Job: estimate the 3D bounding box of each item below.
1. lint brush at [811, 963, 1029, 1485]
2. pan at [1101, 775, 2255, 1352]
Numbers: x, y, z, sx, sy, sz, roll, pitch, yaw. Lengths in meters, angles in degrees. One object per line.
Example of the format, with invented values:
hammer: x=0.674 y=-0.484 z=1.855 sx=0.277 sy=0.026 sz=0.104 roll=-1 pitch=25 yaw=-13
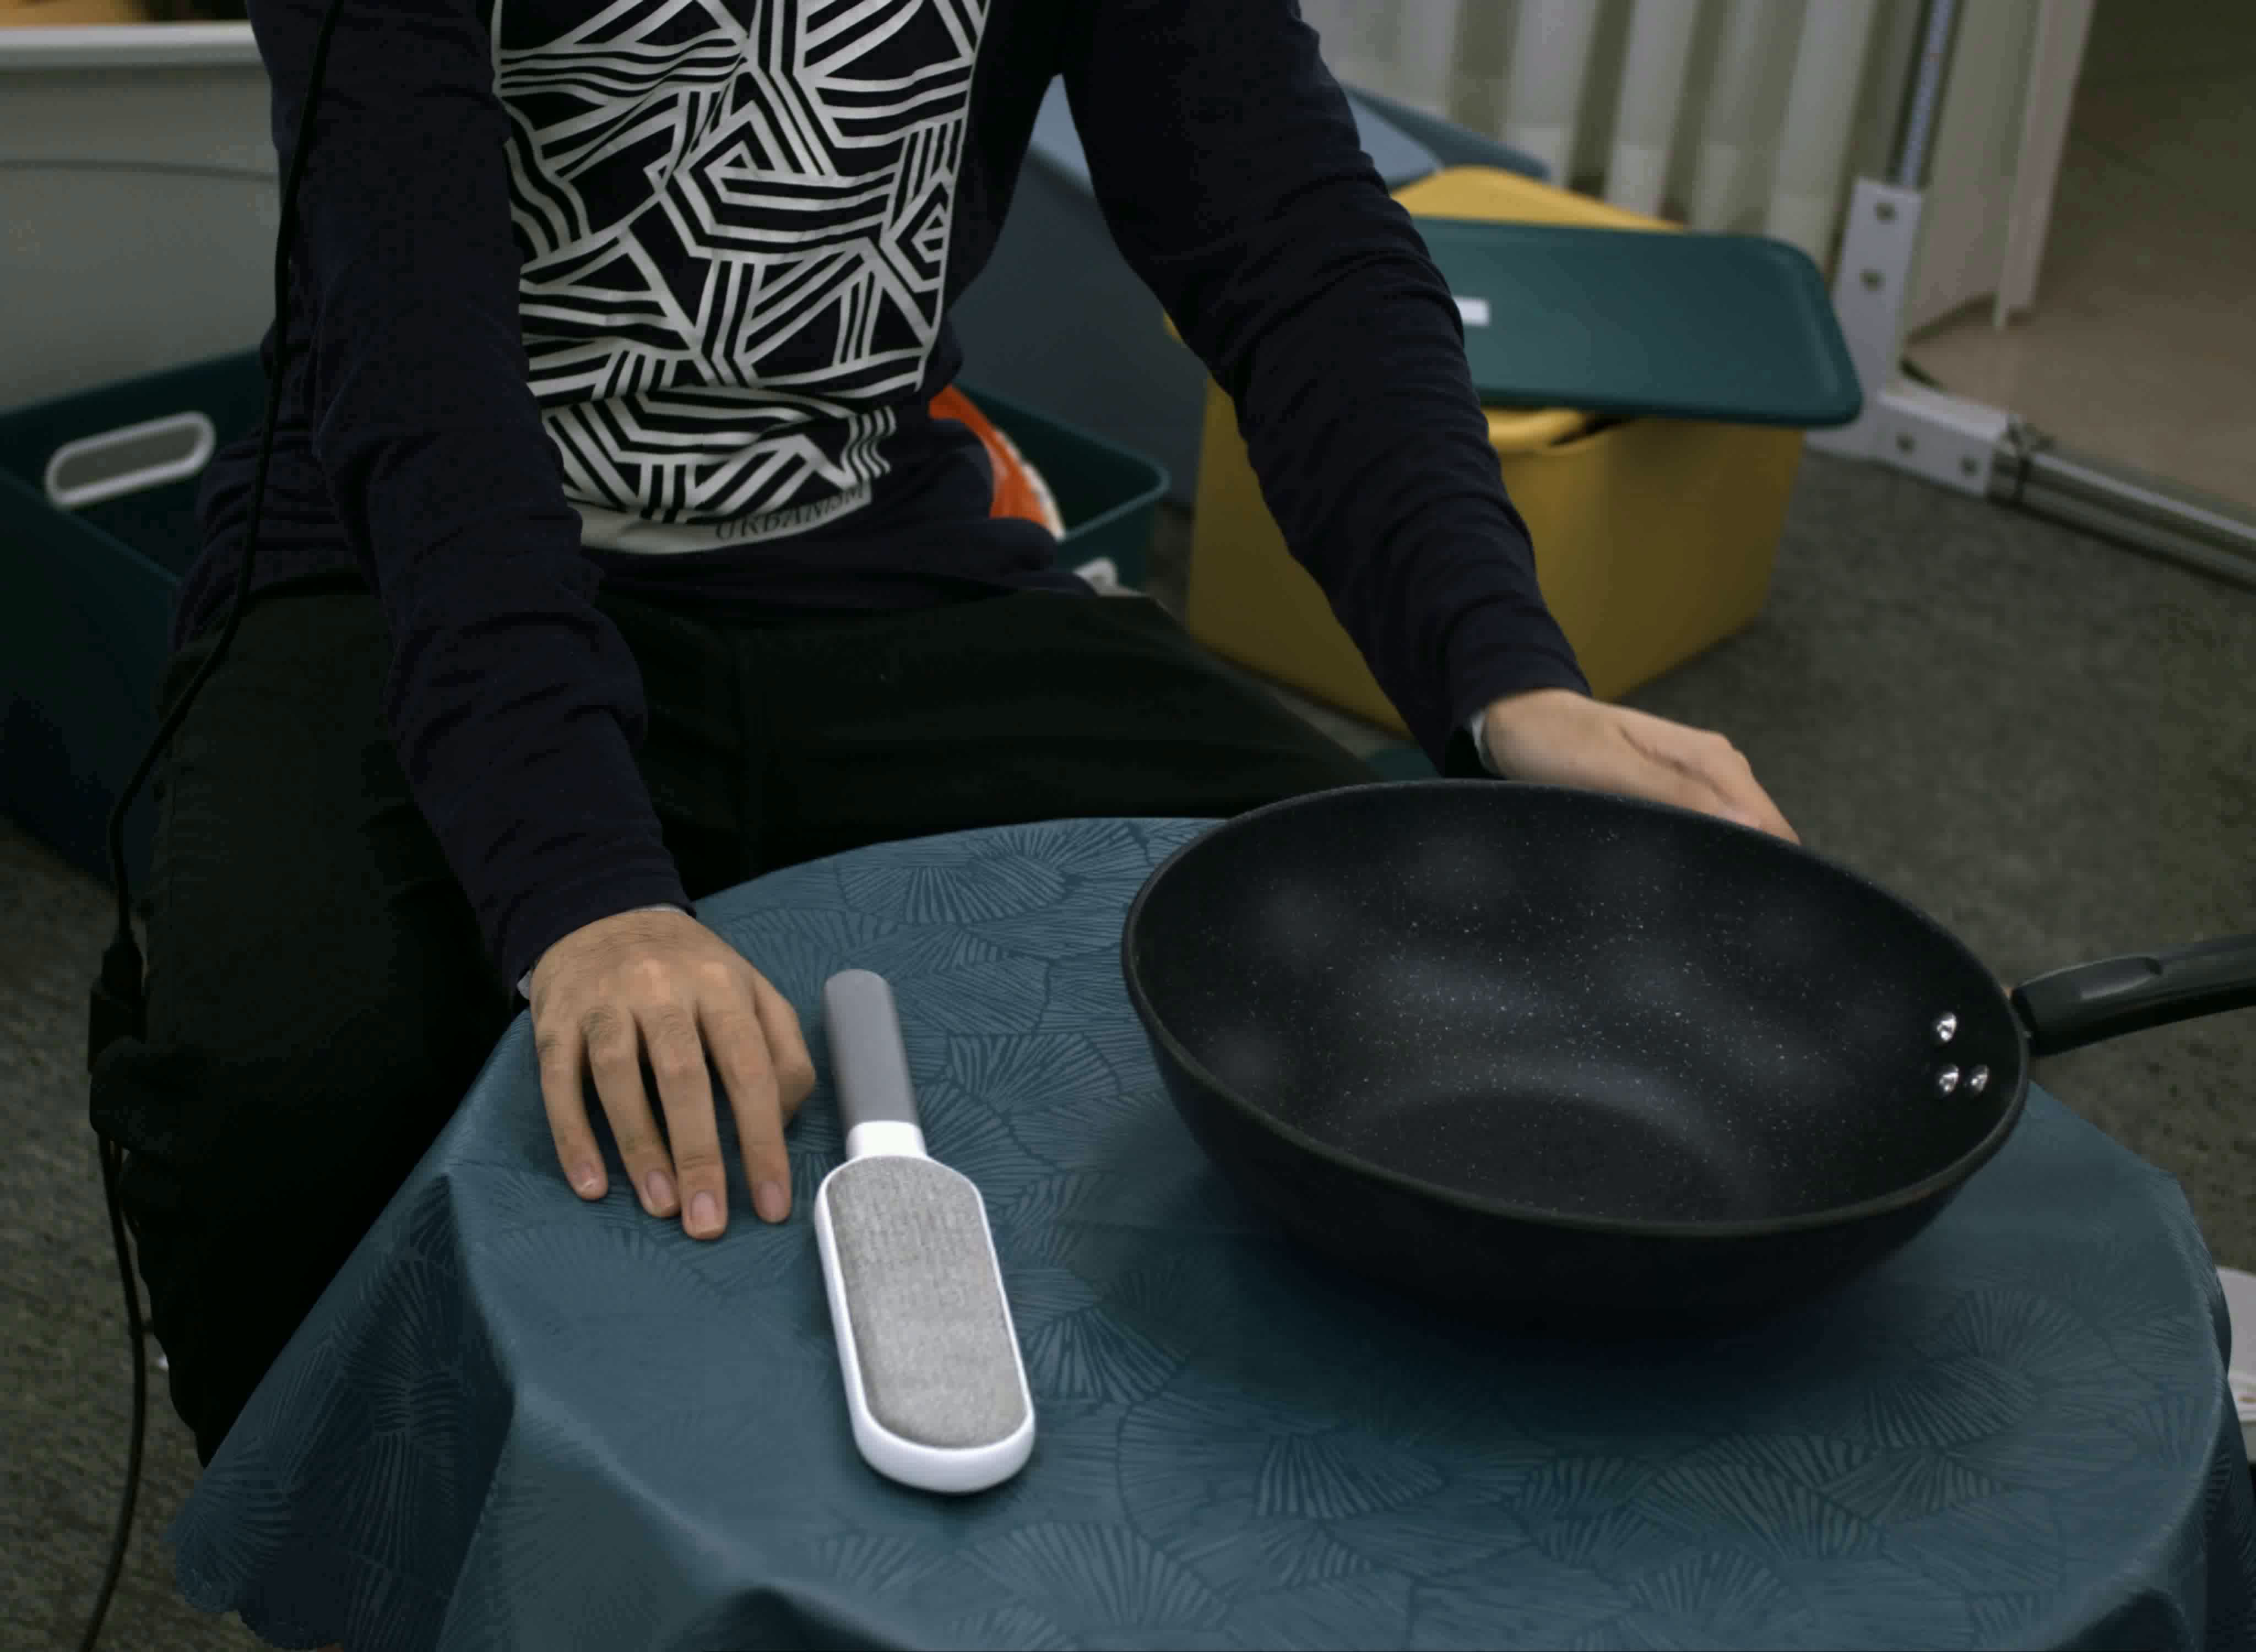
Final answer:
lint brush: x=-0.075 y=0.125 z=1.756 sx=0.060 sy=0.021 sz=0.311 roll=-4 pitch=28 yaw=-7
pan: x=0.222 y=0.083 z=1.817 sx=0.474 sy=0.111 sz=0.313 roll=1 pitch=29 yaw=-12
